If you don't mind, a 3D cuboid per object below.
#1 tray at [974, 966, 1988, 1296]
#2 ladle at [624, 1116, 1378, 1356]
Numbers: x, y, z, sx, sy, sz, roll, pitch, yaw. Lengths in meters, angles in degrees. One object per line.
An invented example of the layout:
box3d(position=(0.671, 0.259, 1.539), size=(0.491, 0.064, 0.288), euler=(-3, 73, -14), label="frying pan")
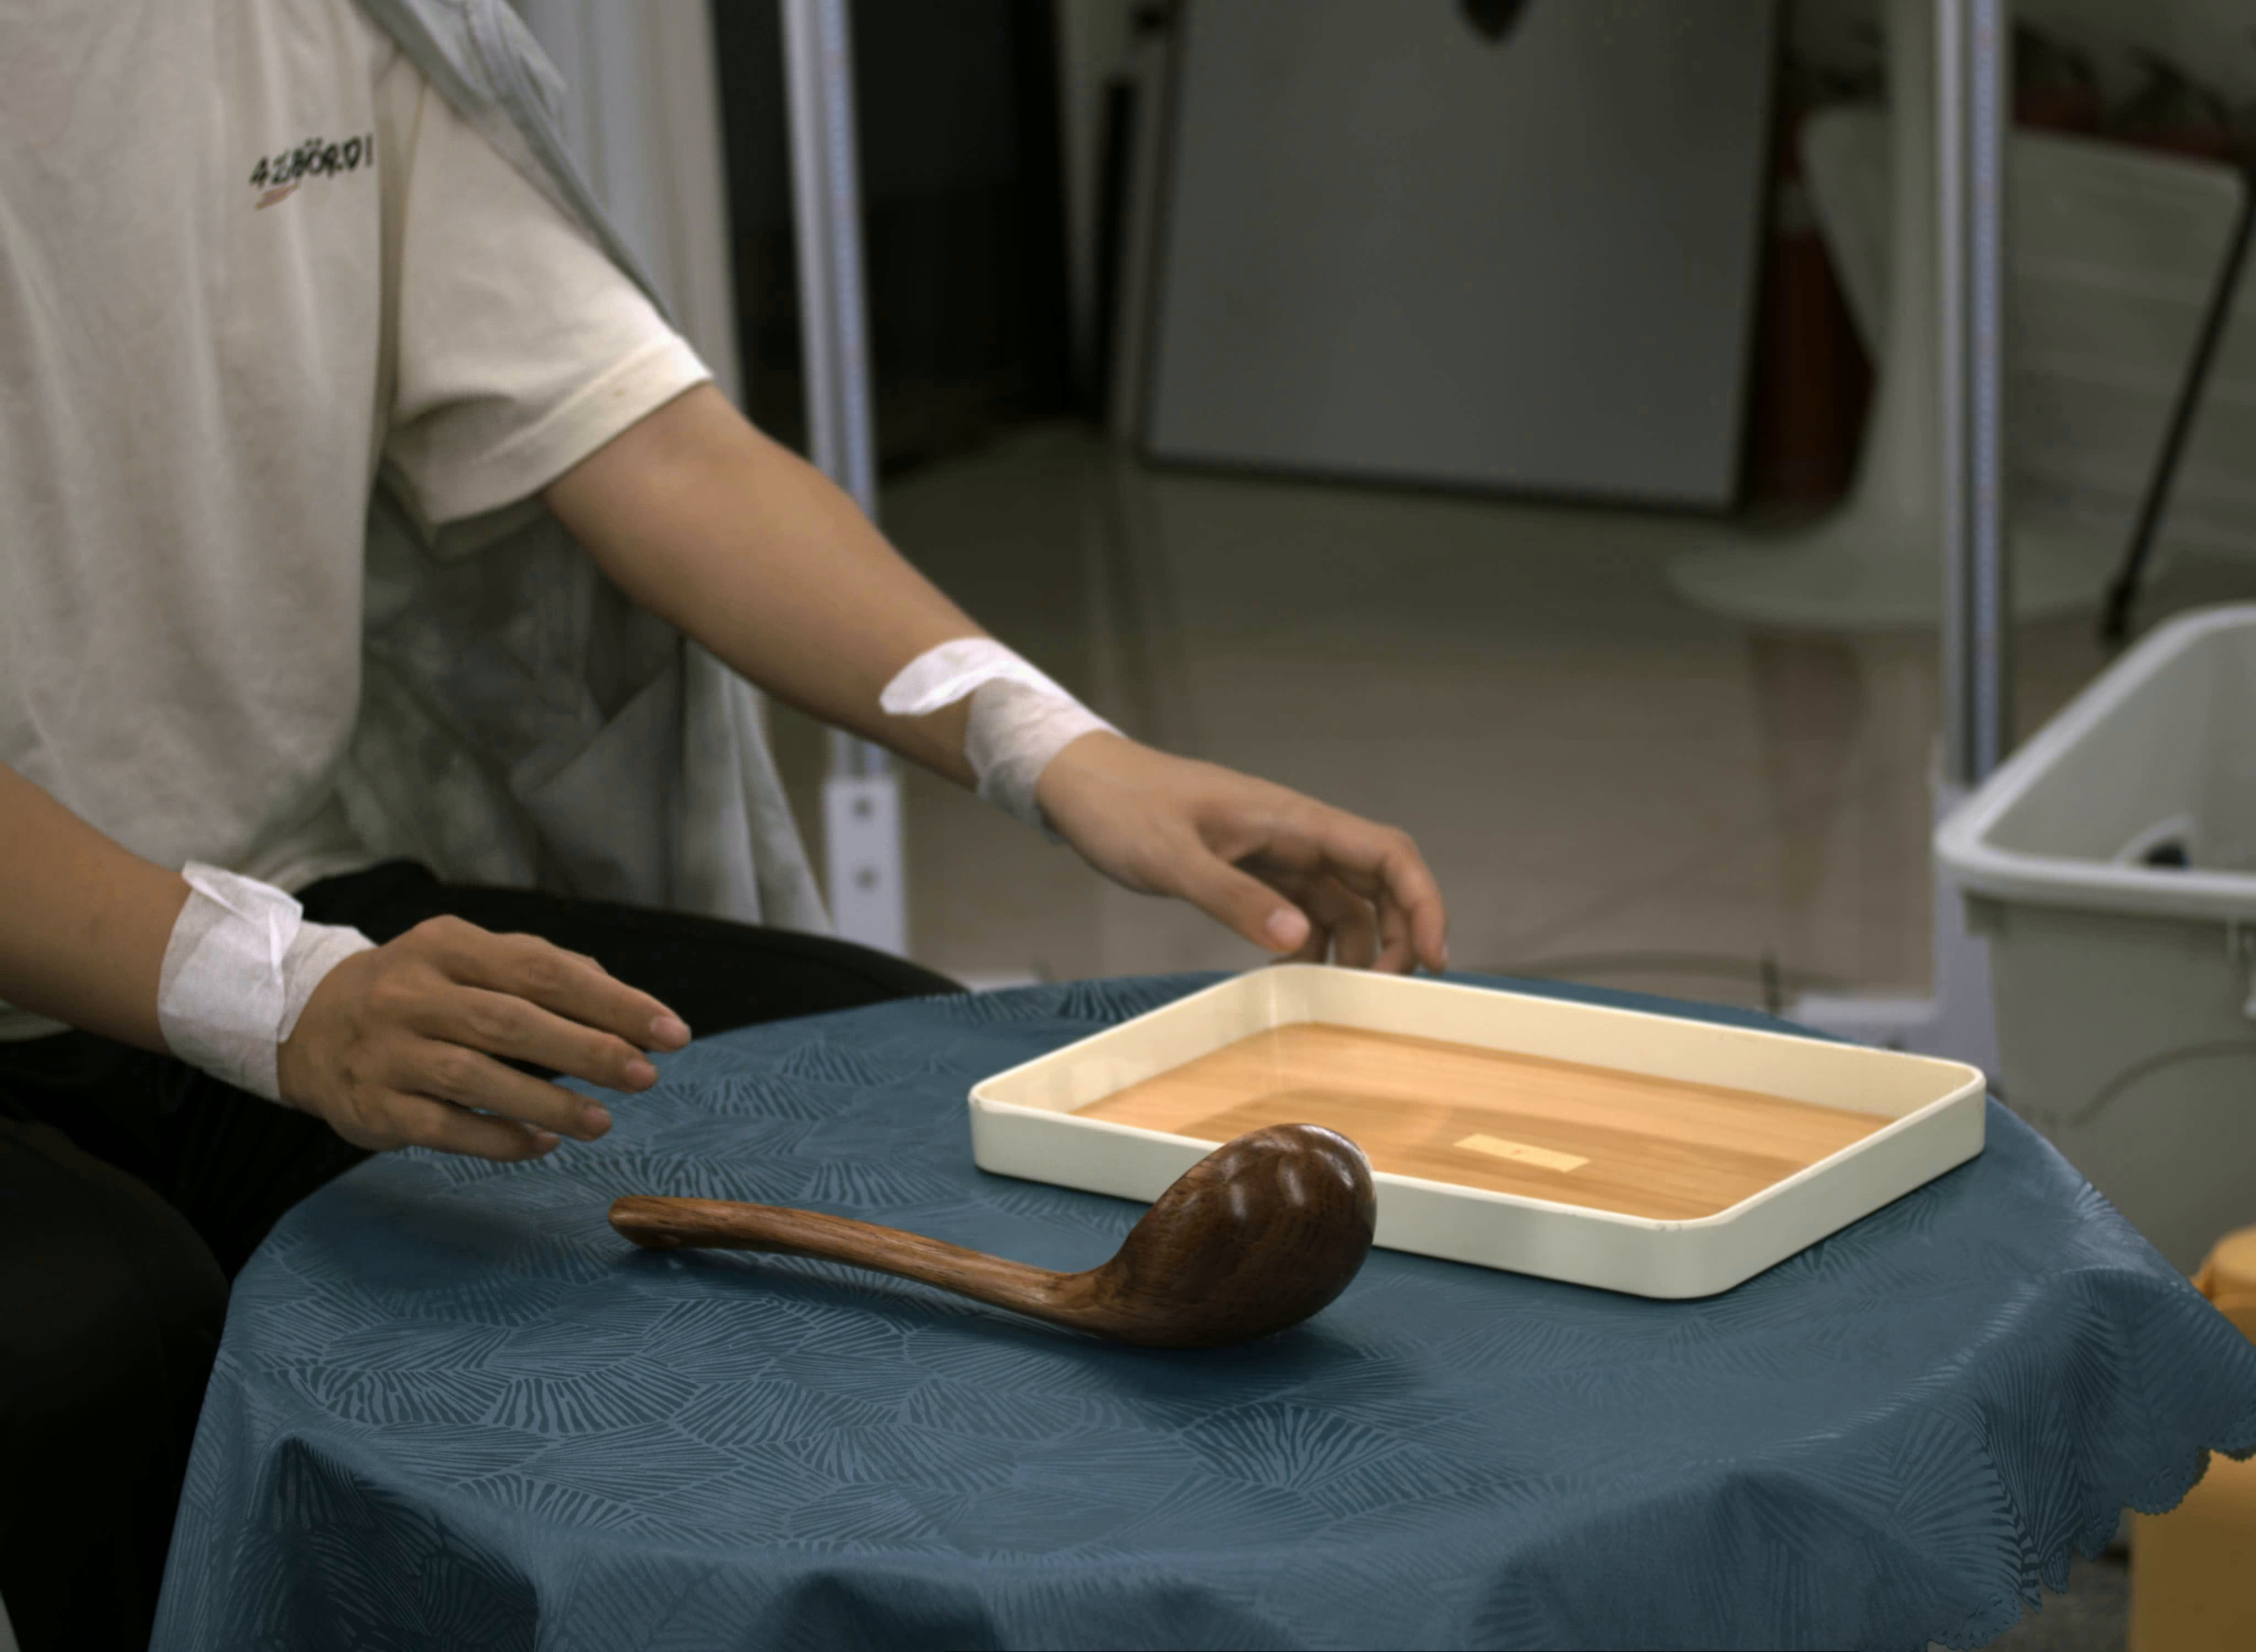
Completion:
box3d(position=(0.115, 0.097, 1.781), size=(0.302, 0.028, 0.188), euler=(7, 18, 39), label="tray")
box3d(position=(-0.045, 0.114, 1.670), size=(0.276, 0.077, 0.081), euler=(6, -22, 40), label="ladle")
